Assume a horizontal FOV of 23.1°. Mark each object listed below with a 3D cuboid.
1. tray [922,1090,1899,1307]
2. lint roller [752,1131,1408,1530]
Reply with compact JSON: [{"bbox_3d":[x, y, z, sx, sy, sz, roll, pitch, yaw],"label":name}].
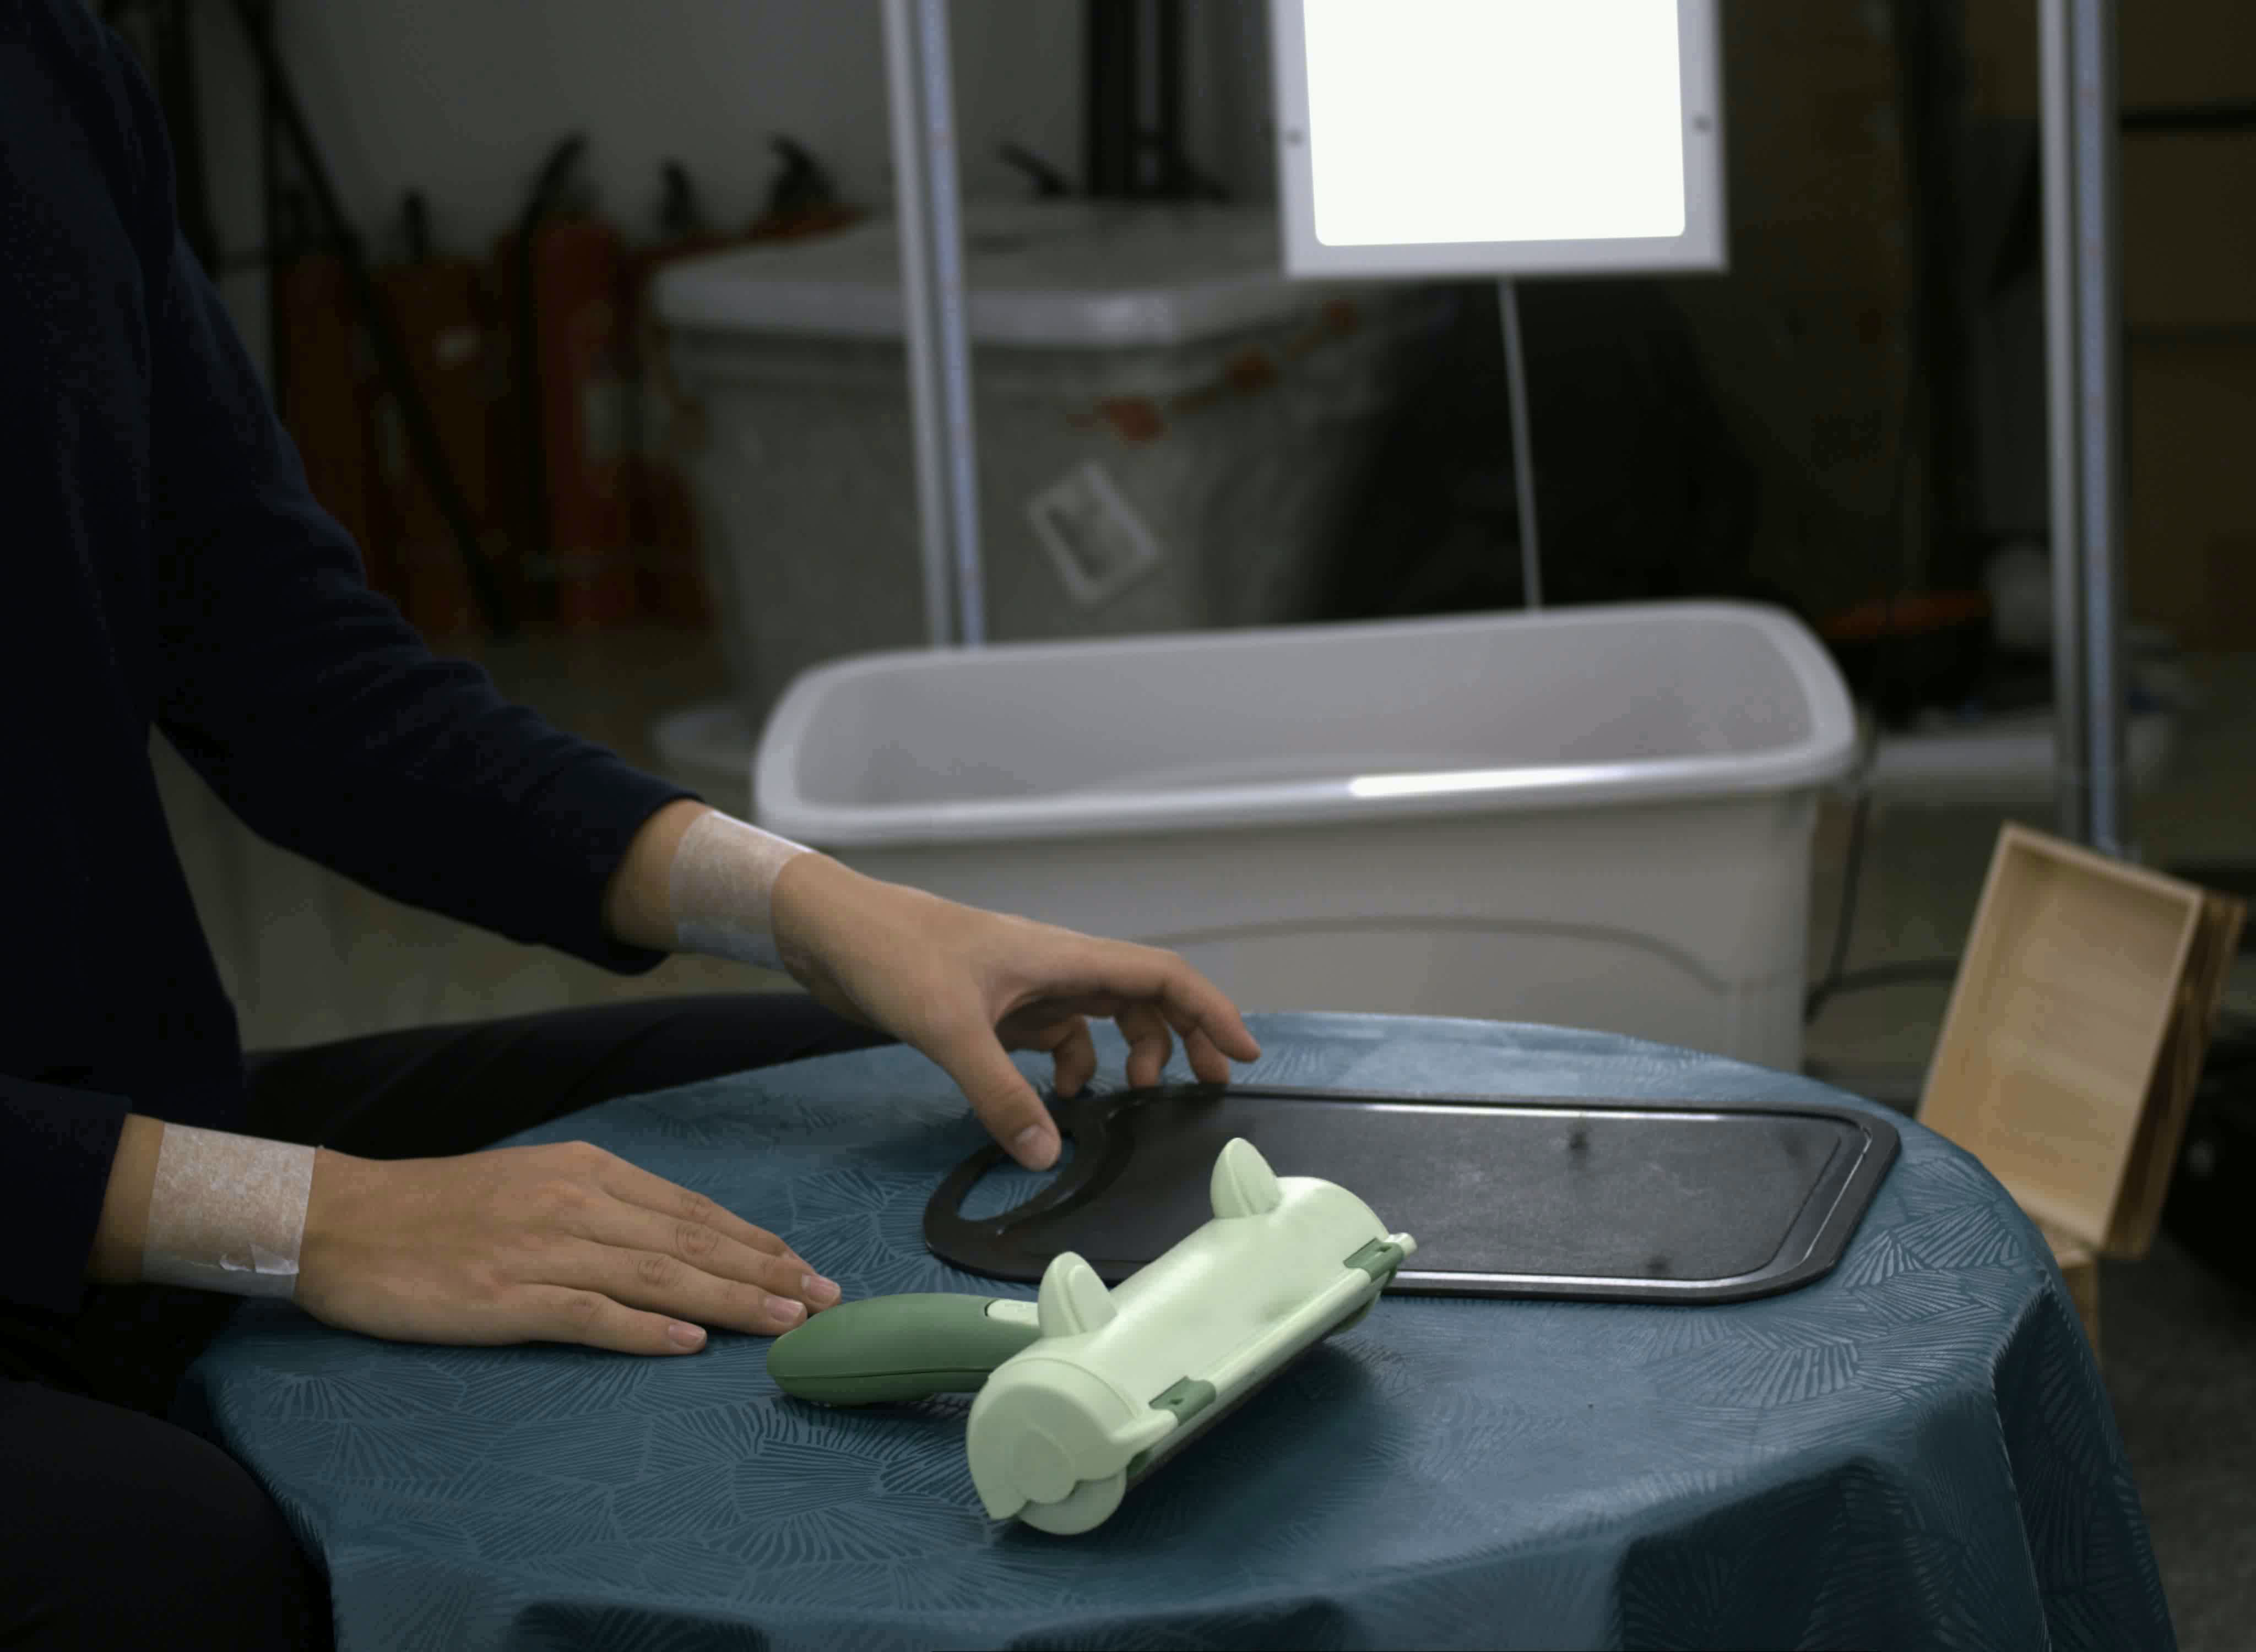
[{"bbox_3d":[0.091,0.122,1.868,0.330,0.010,0.207,0,15,20],"label":"tray"},{"bbox_3d":[-0.033,0.140,1.674,0.186,0.082,0.194,9,18,26],"label":"lint roller"}]
